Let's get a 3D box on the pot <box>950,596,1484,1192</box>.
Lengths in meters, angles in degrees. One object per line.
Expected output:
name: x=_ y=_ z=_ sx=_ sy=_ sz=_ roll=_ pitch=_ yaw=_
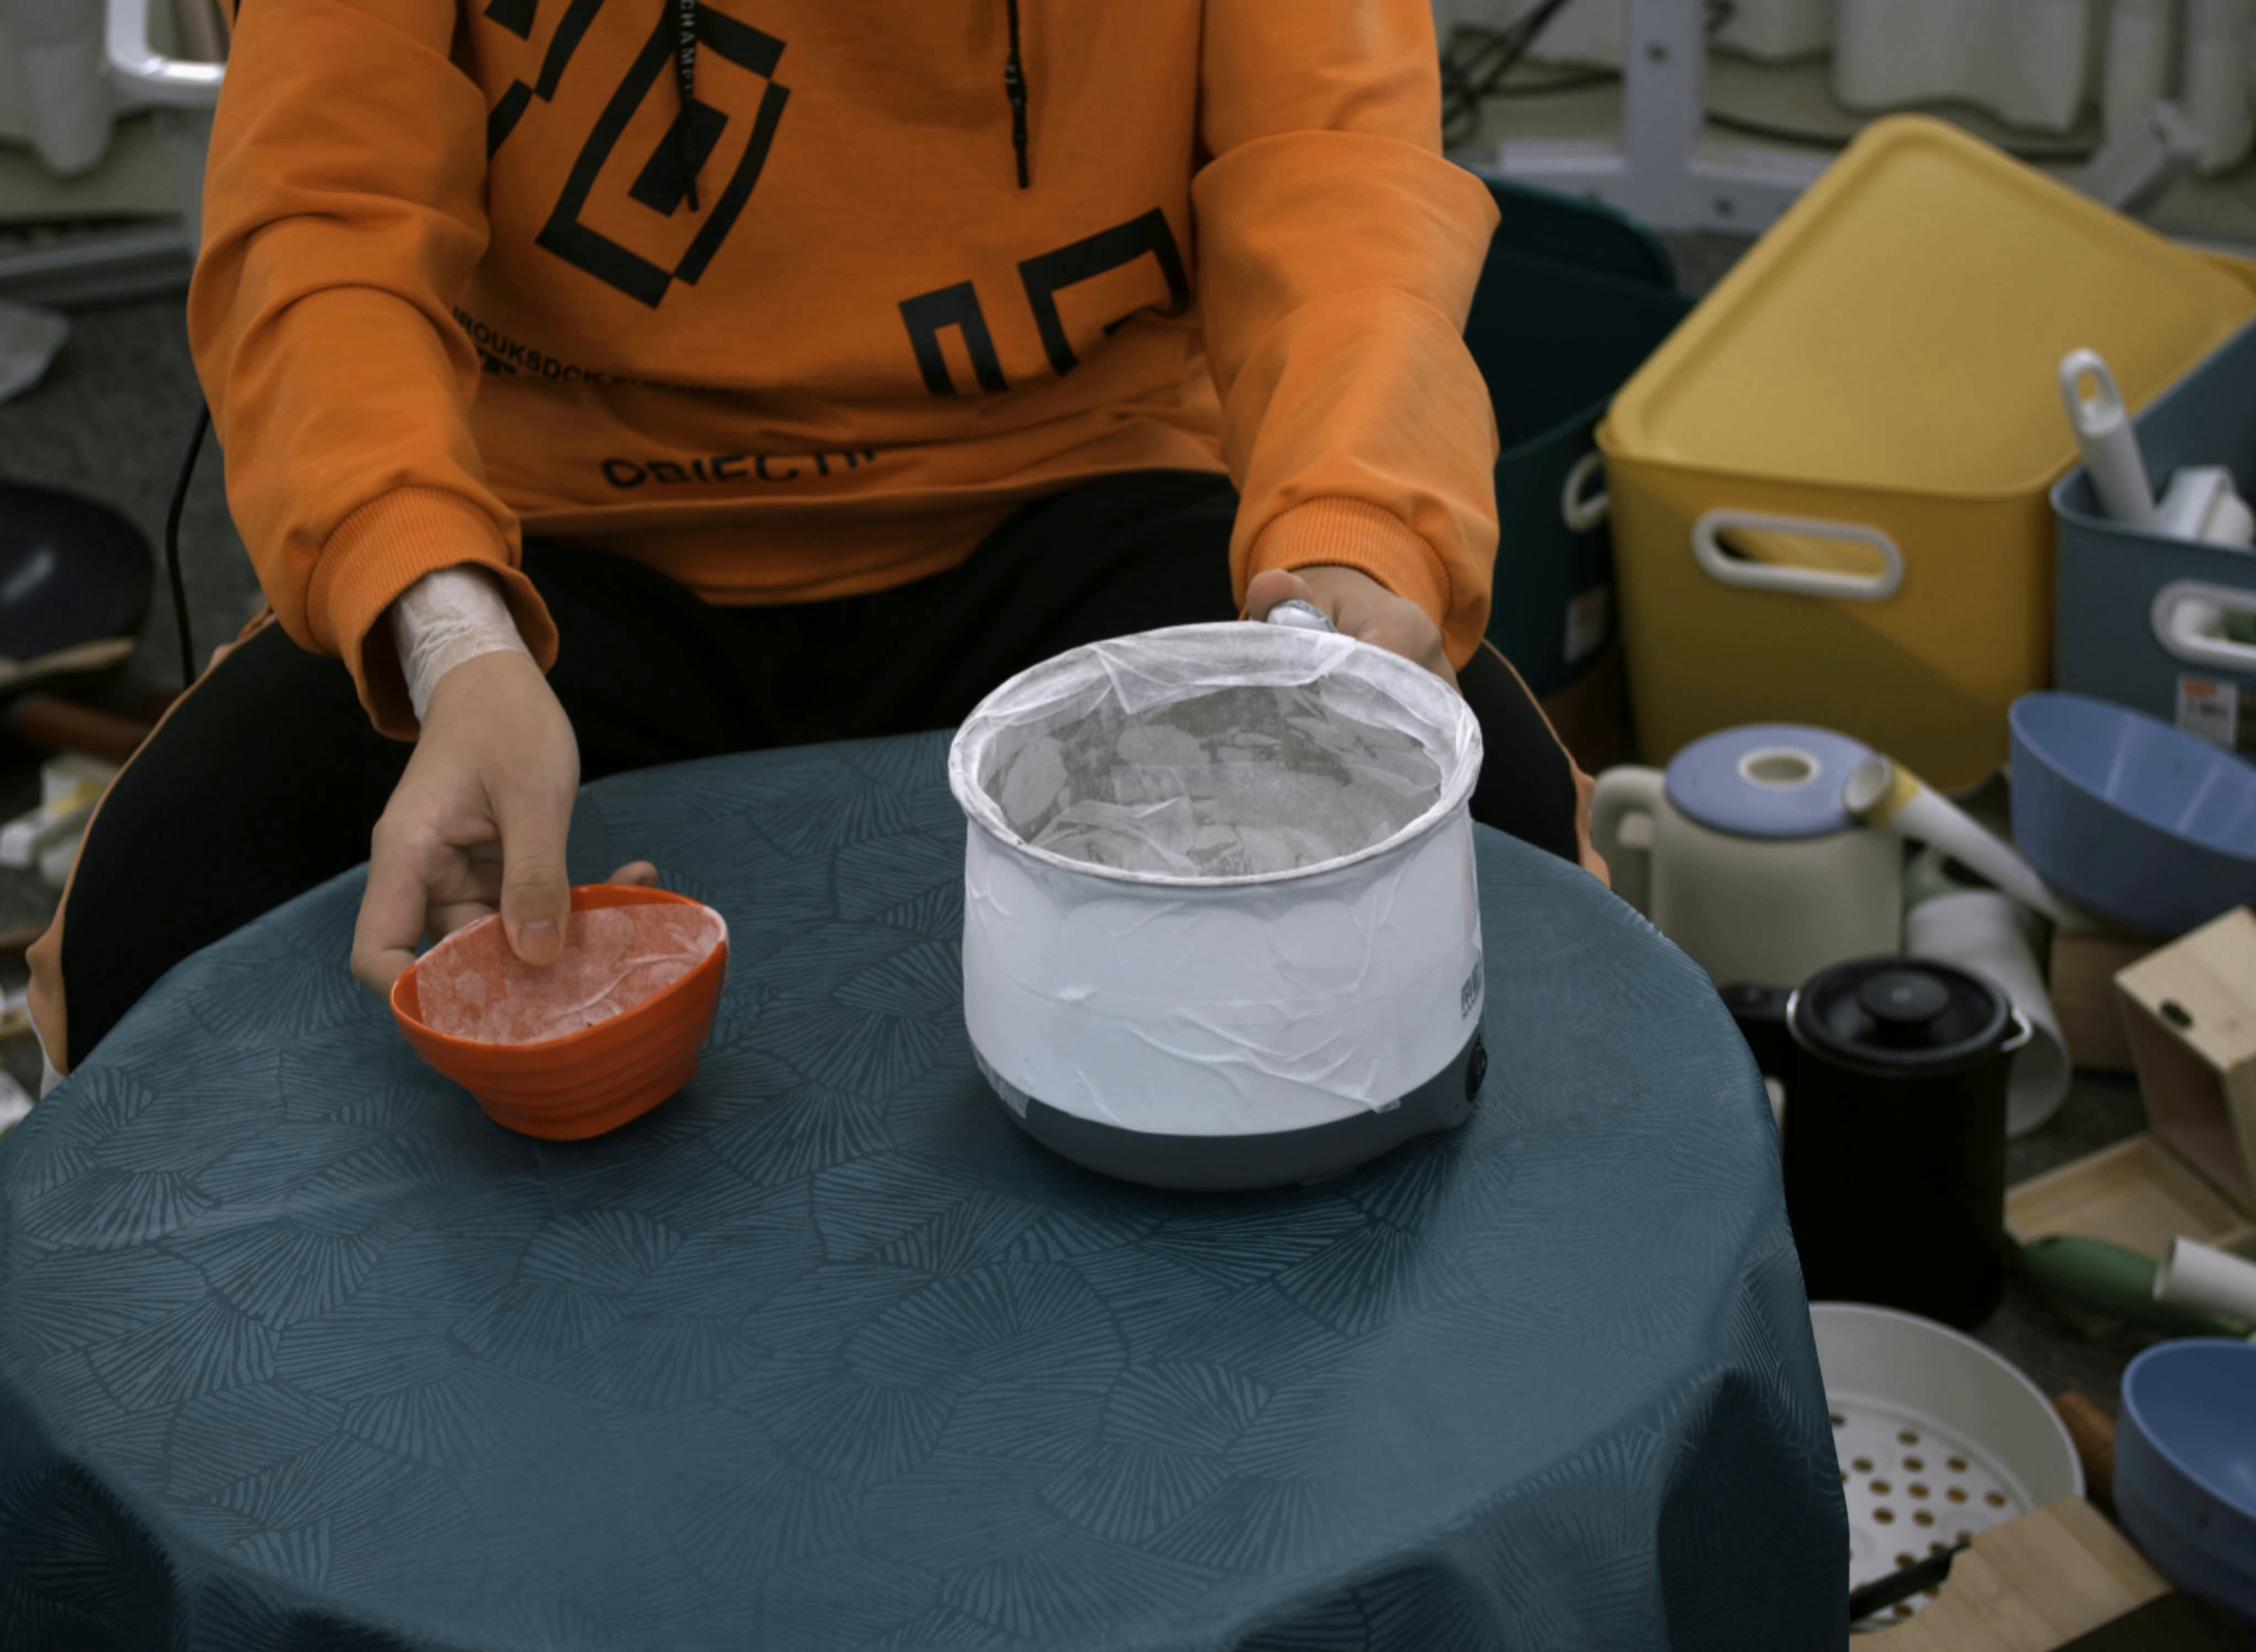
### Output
pot: x=0.039 y=0.015 z=1.910 sx=0.177 sy=0.135 sz=0.238 roll=6 pitch=30 yaw=14

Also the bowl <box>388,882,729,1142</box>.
bowl: x=-0.189 y=0.068 z=1.920 sx=0.118 sy=0.051 sz=0.120 roll=-10 pitch=25 yaw=5
